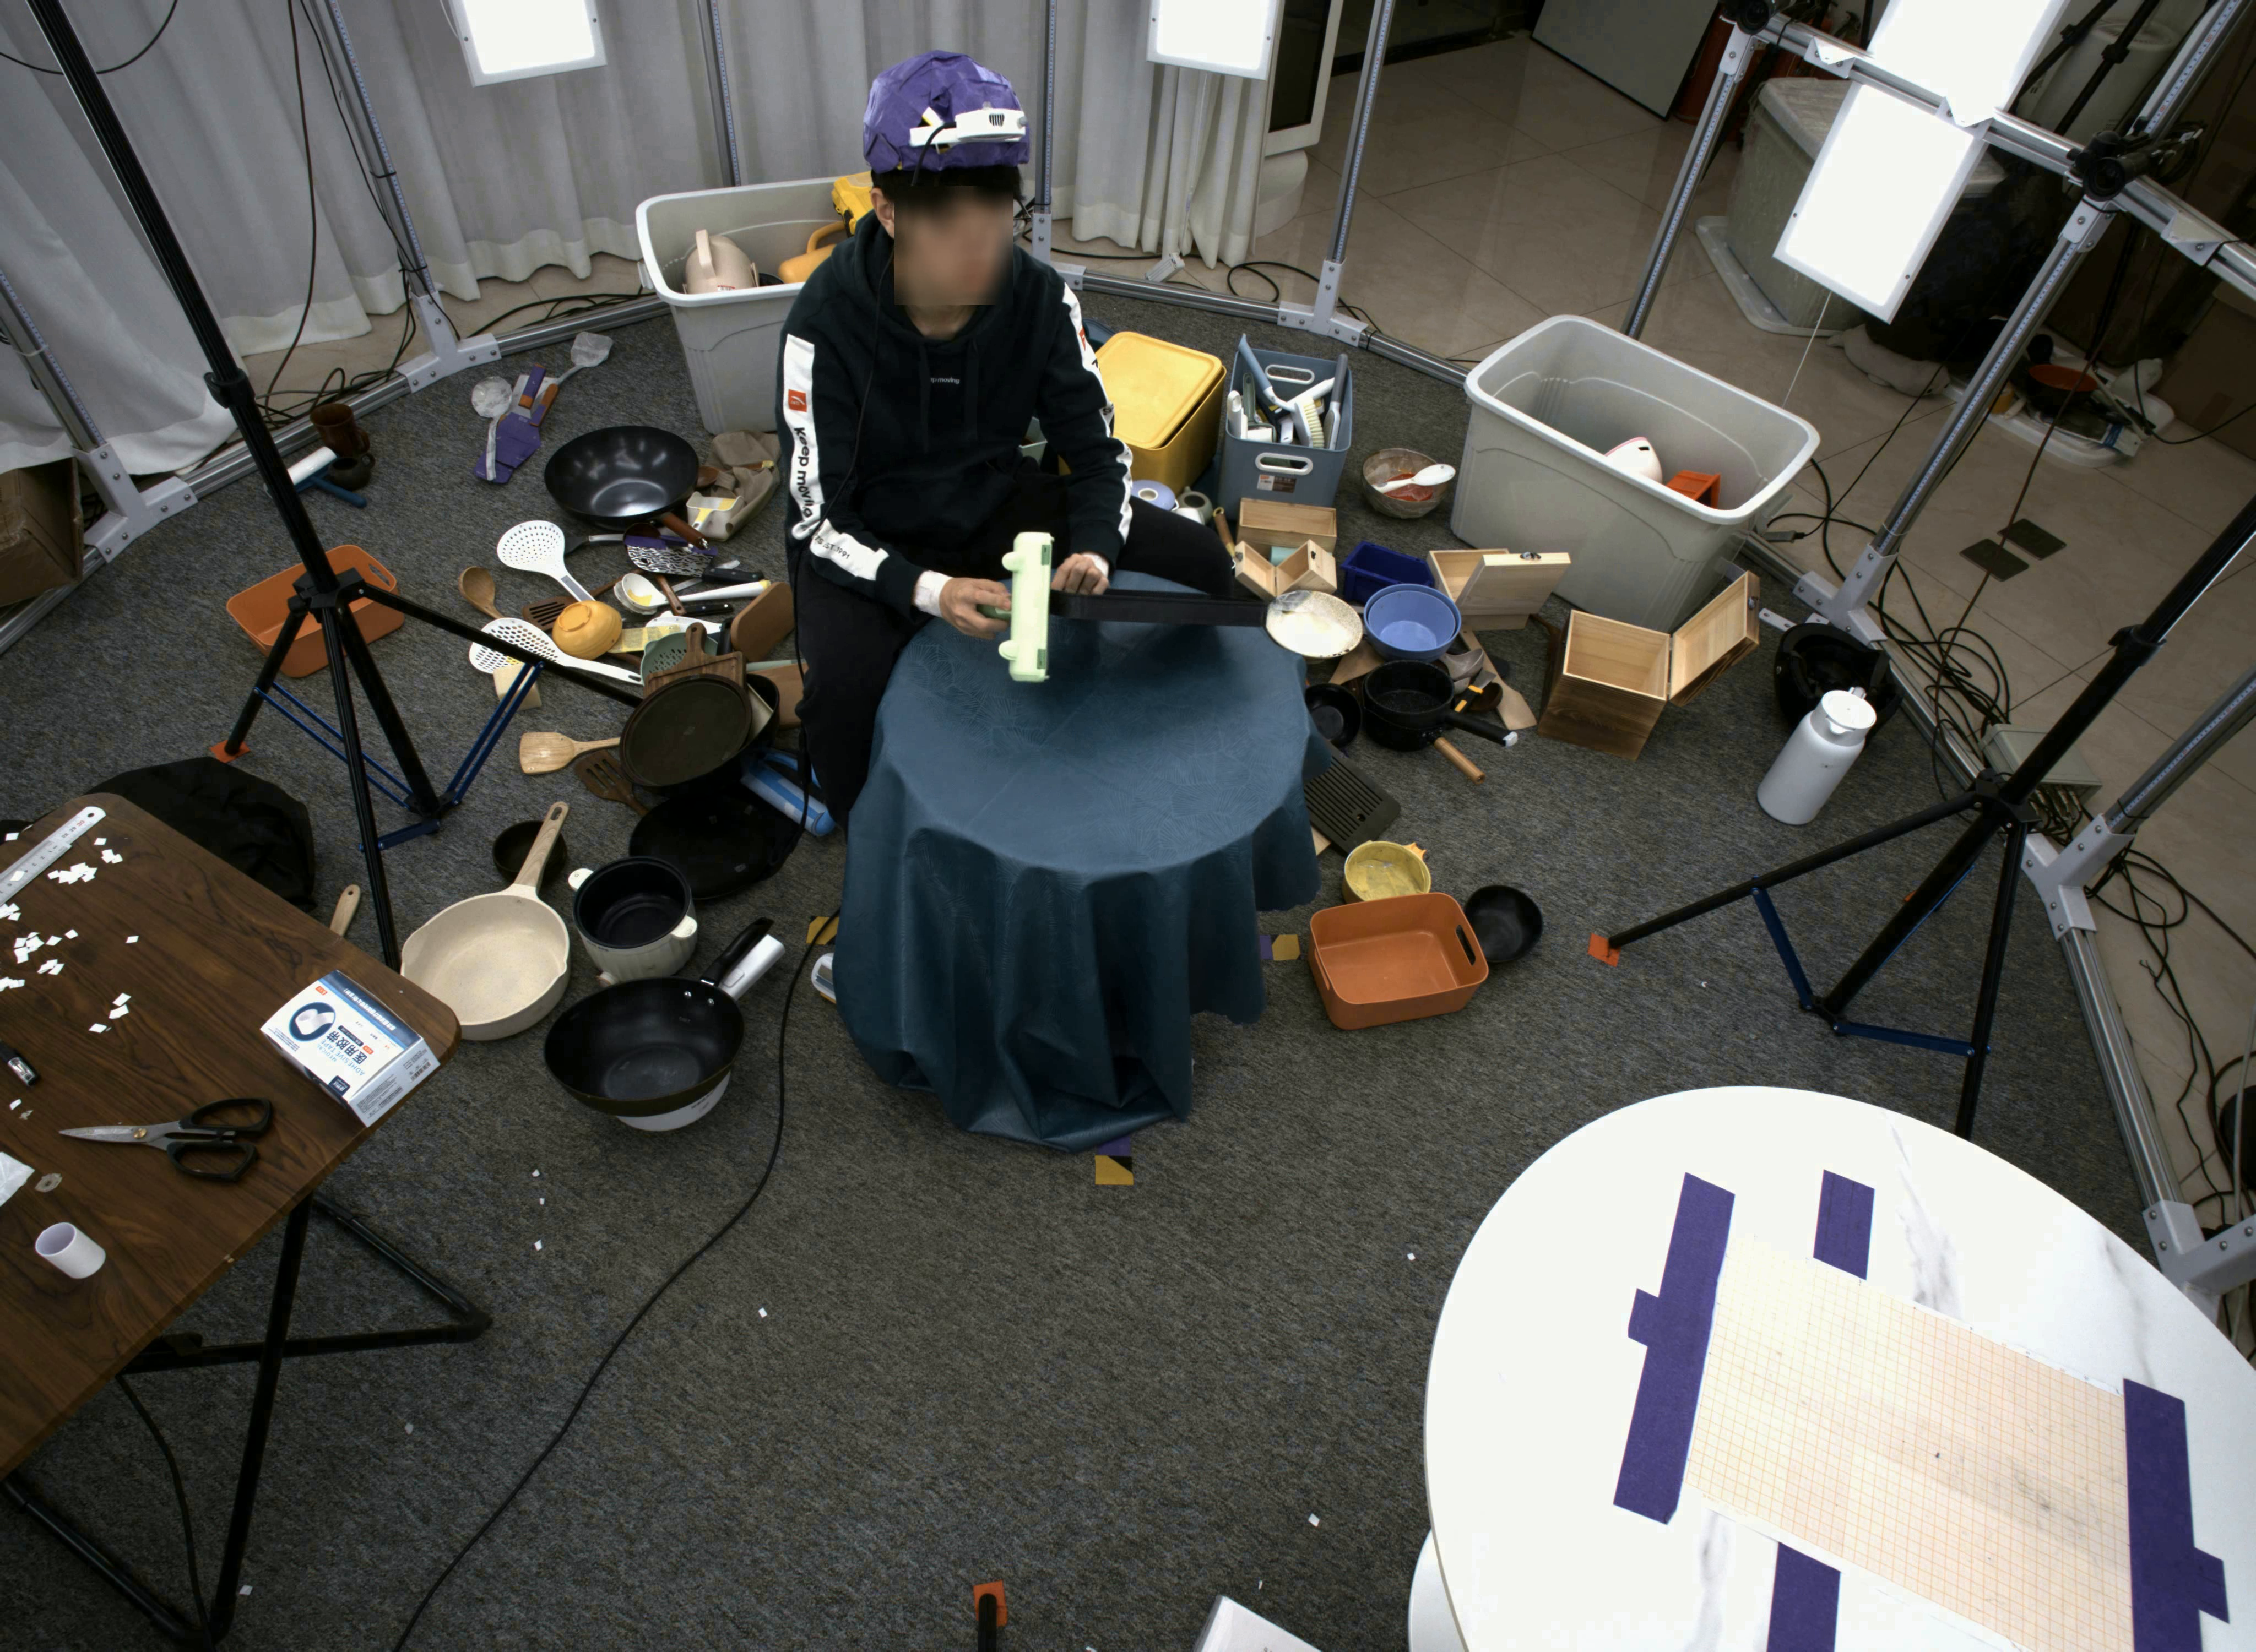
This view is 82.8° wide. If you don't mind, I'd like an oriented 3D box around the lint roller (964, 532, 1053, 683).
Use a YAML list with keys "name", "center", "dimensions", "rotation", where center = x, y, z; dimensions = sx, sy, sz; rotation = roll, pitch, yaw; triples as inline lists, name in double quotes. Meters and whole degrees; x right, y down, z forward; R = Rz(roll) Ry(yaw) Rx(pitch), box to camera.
- name: "lint roller"
  center: [-0.177, -0.296, 1.743]
  dimensions: [0.184, 0.198, 0.082]
  rotation: [6, 6, 39]

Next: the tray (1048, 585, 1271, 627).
- name: "tray"
  center: [0.026, -0.310, 1.807]
  dimensions: [0.317, 0.037, 0.186]
  rotation: [-2, 14, -27]
